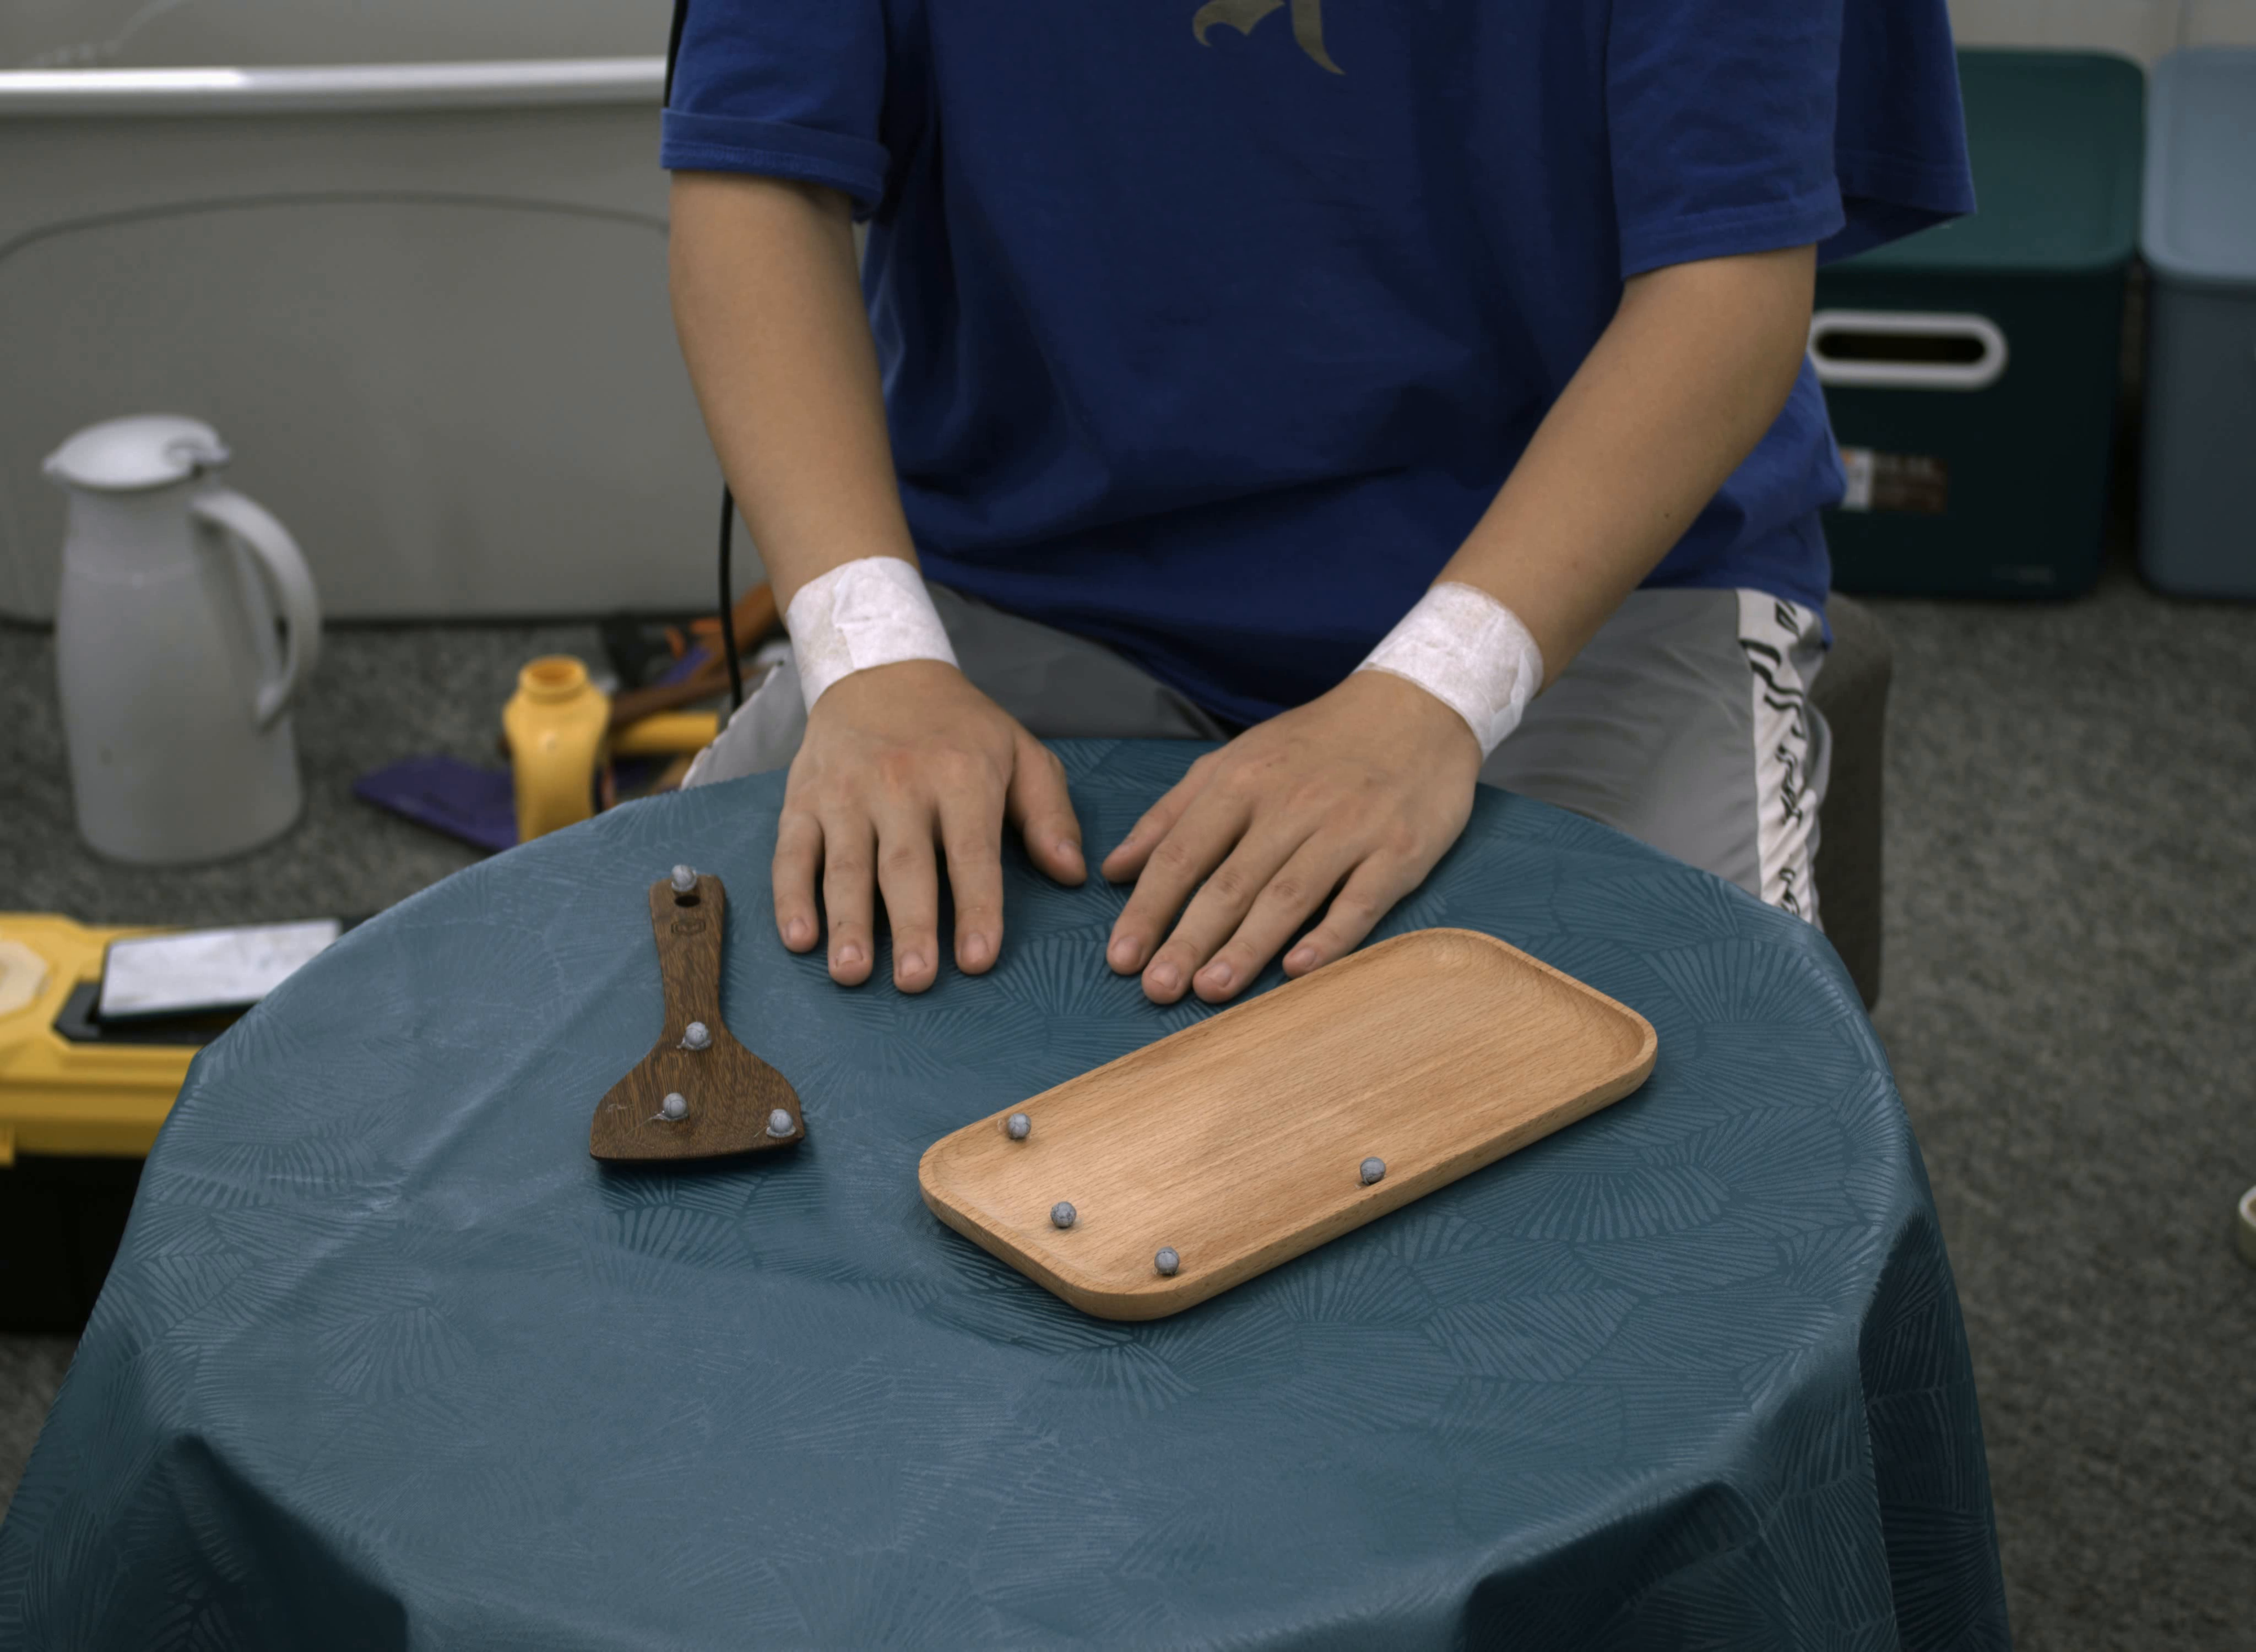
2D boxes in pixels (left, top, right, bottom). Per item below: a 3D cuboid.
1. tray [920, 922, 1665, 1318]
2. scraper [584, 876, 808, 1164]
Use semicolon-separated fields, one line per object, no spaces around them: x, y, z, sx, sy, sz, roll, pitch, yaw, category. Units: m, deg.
0.057;0.097;1.884;0.253;0.022;0.131;-21;35;-32;tray
-0.153;0.068;1.972;0.075;0.011;0.214;-4;26;-4;scraper
